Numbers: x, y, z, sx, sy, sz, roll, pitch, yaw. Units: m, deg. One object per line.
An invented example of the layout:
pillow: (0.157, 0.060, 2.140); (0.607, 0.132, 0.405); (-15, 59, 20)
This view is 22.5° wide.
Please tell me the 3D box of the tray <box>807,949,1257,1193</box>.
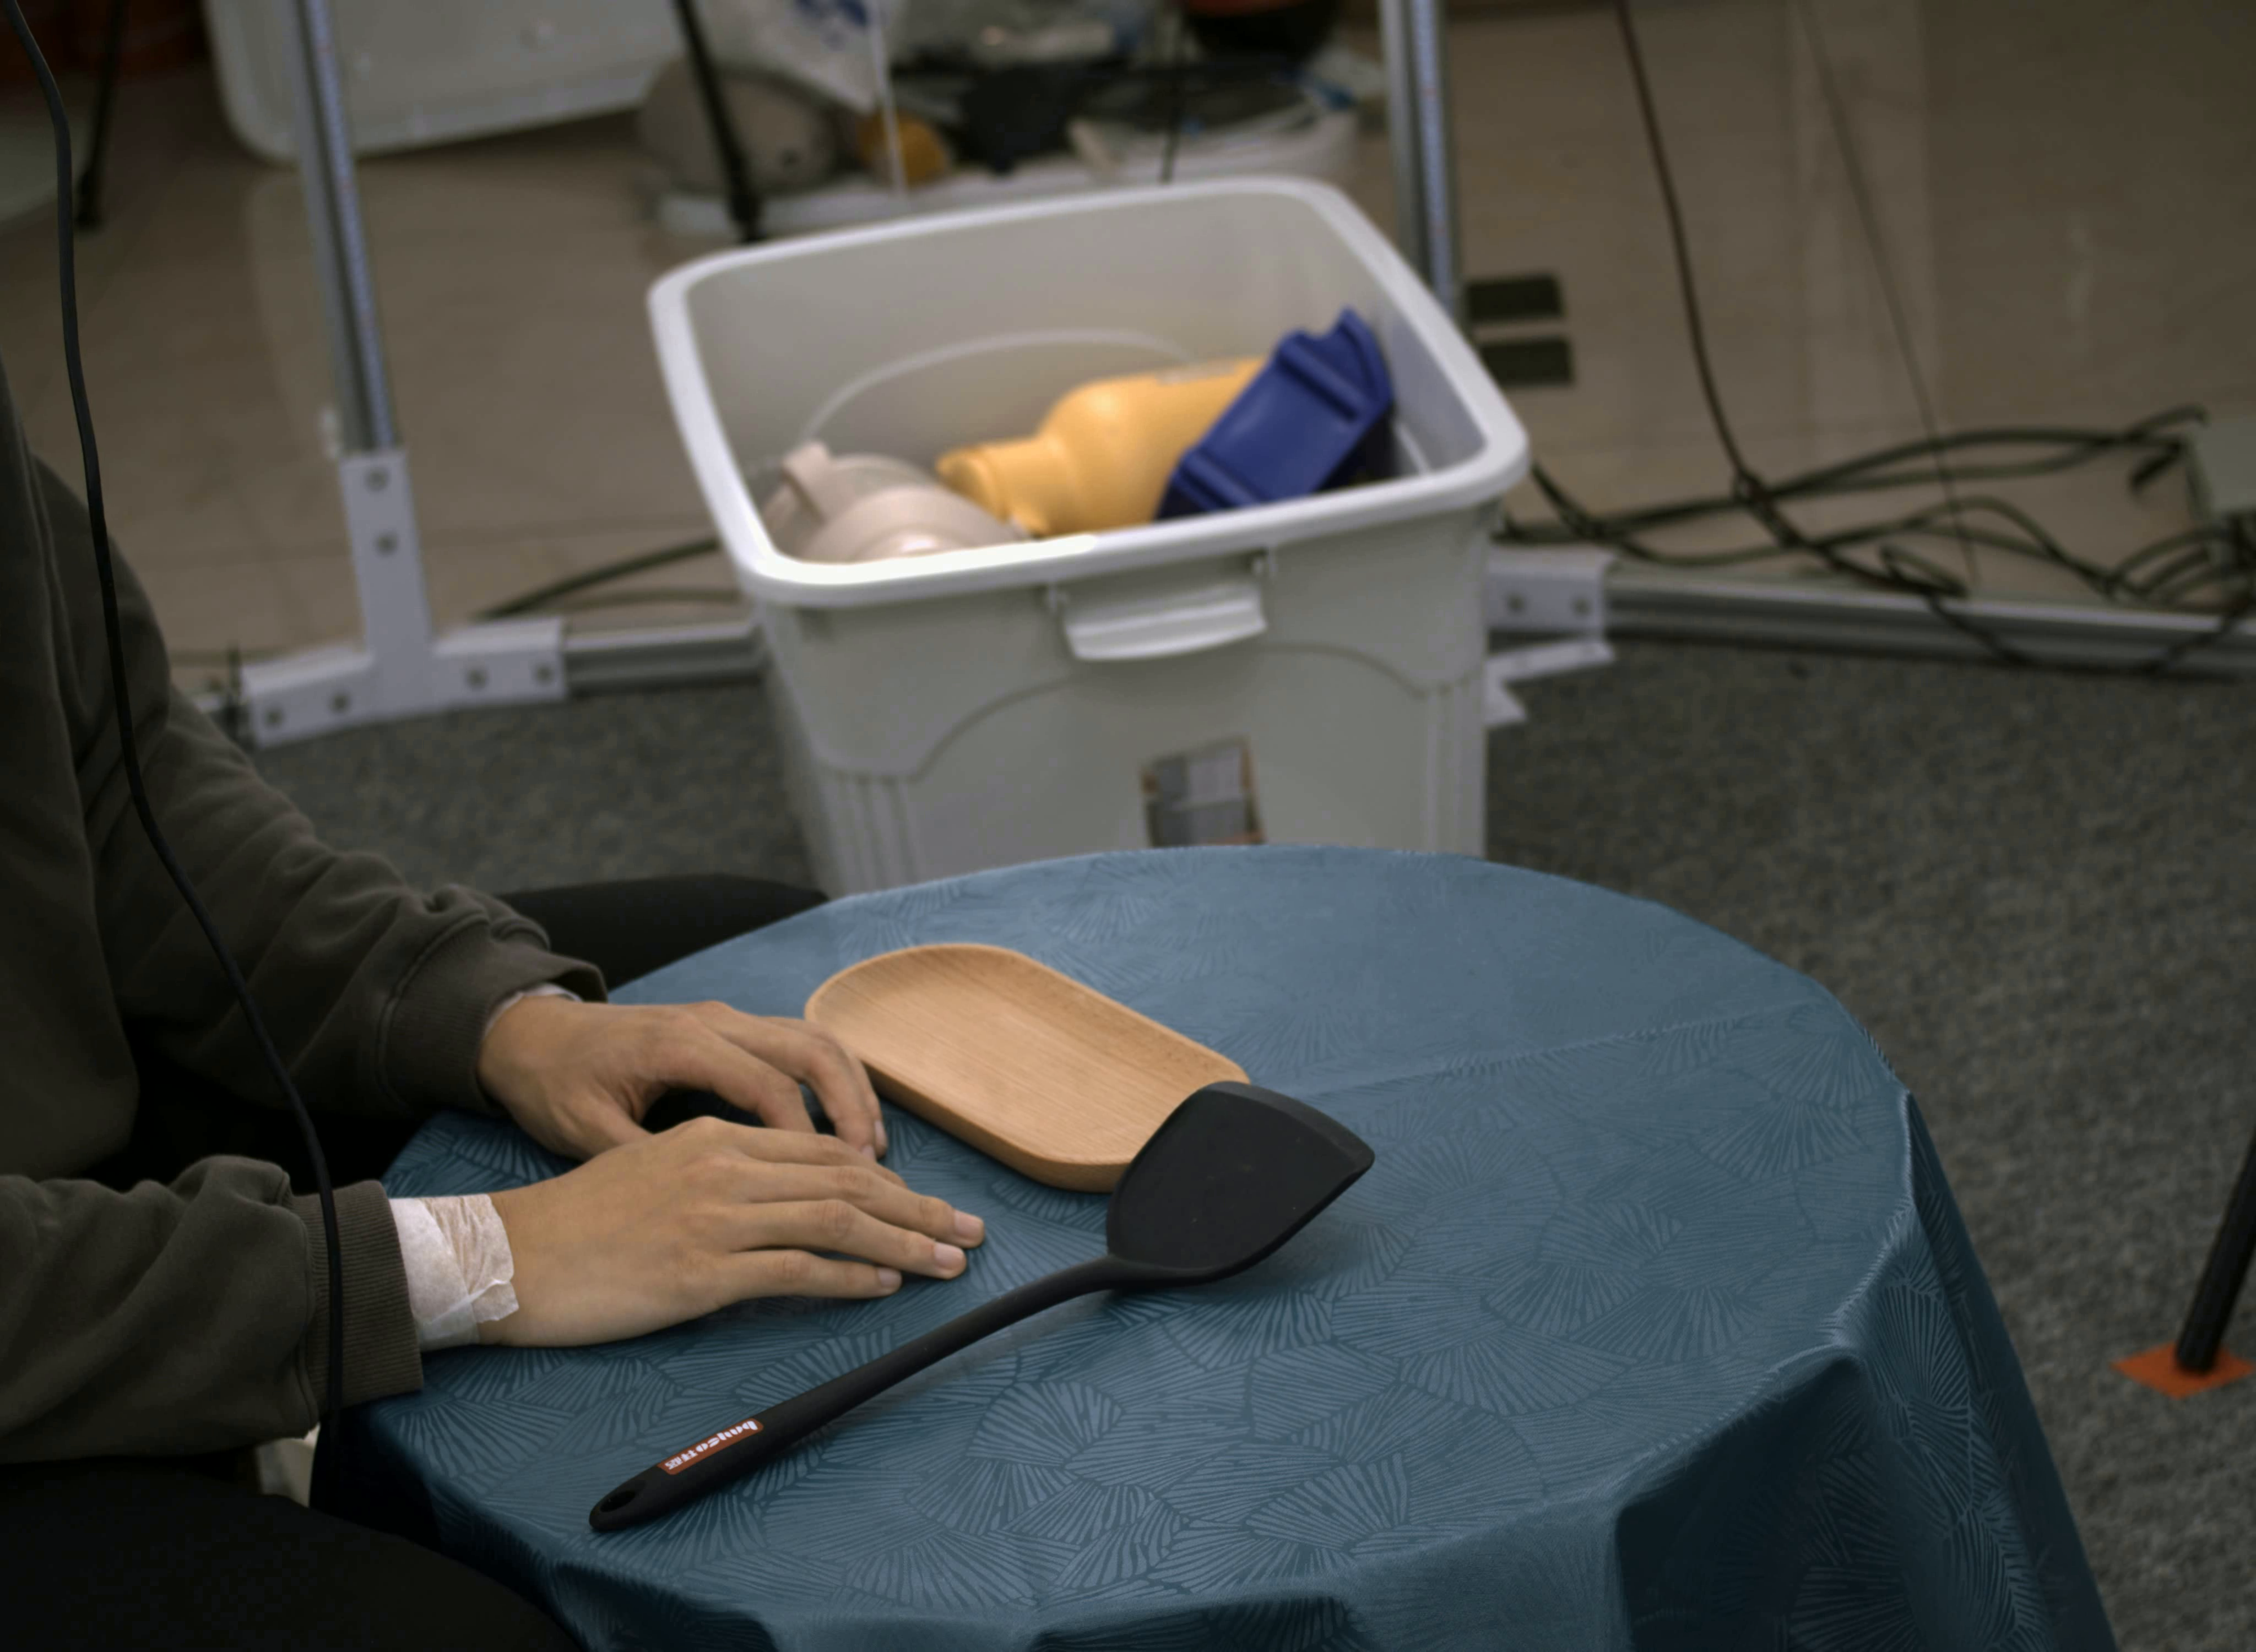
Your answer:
tray: (-0.040, 0.095, 2.232); (0.101, 0.020, 0.229); (-23, 31, -30)

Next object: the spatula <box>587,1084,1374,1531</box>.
spatula: (-0.059, 0.176, 2.039); (0.324, 0.041, 0.099); (-22, 28, -30)
